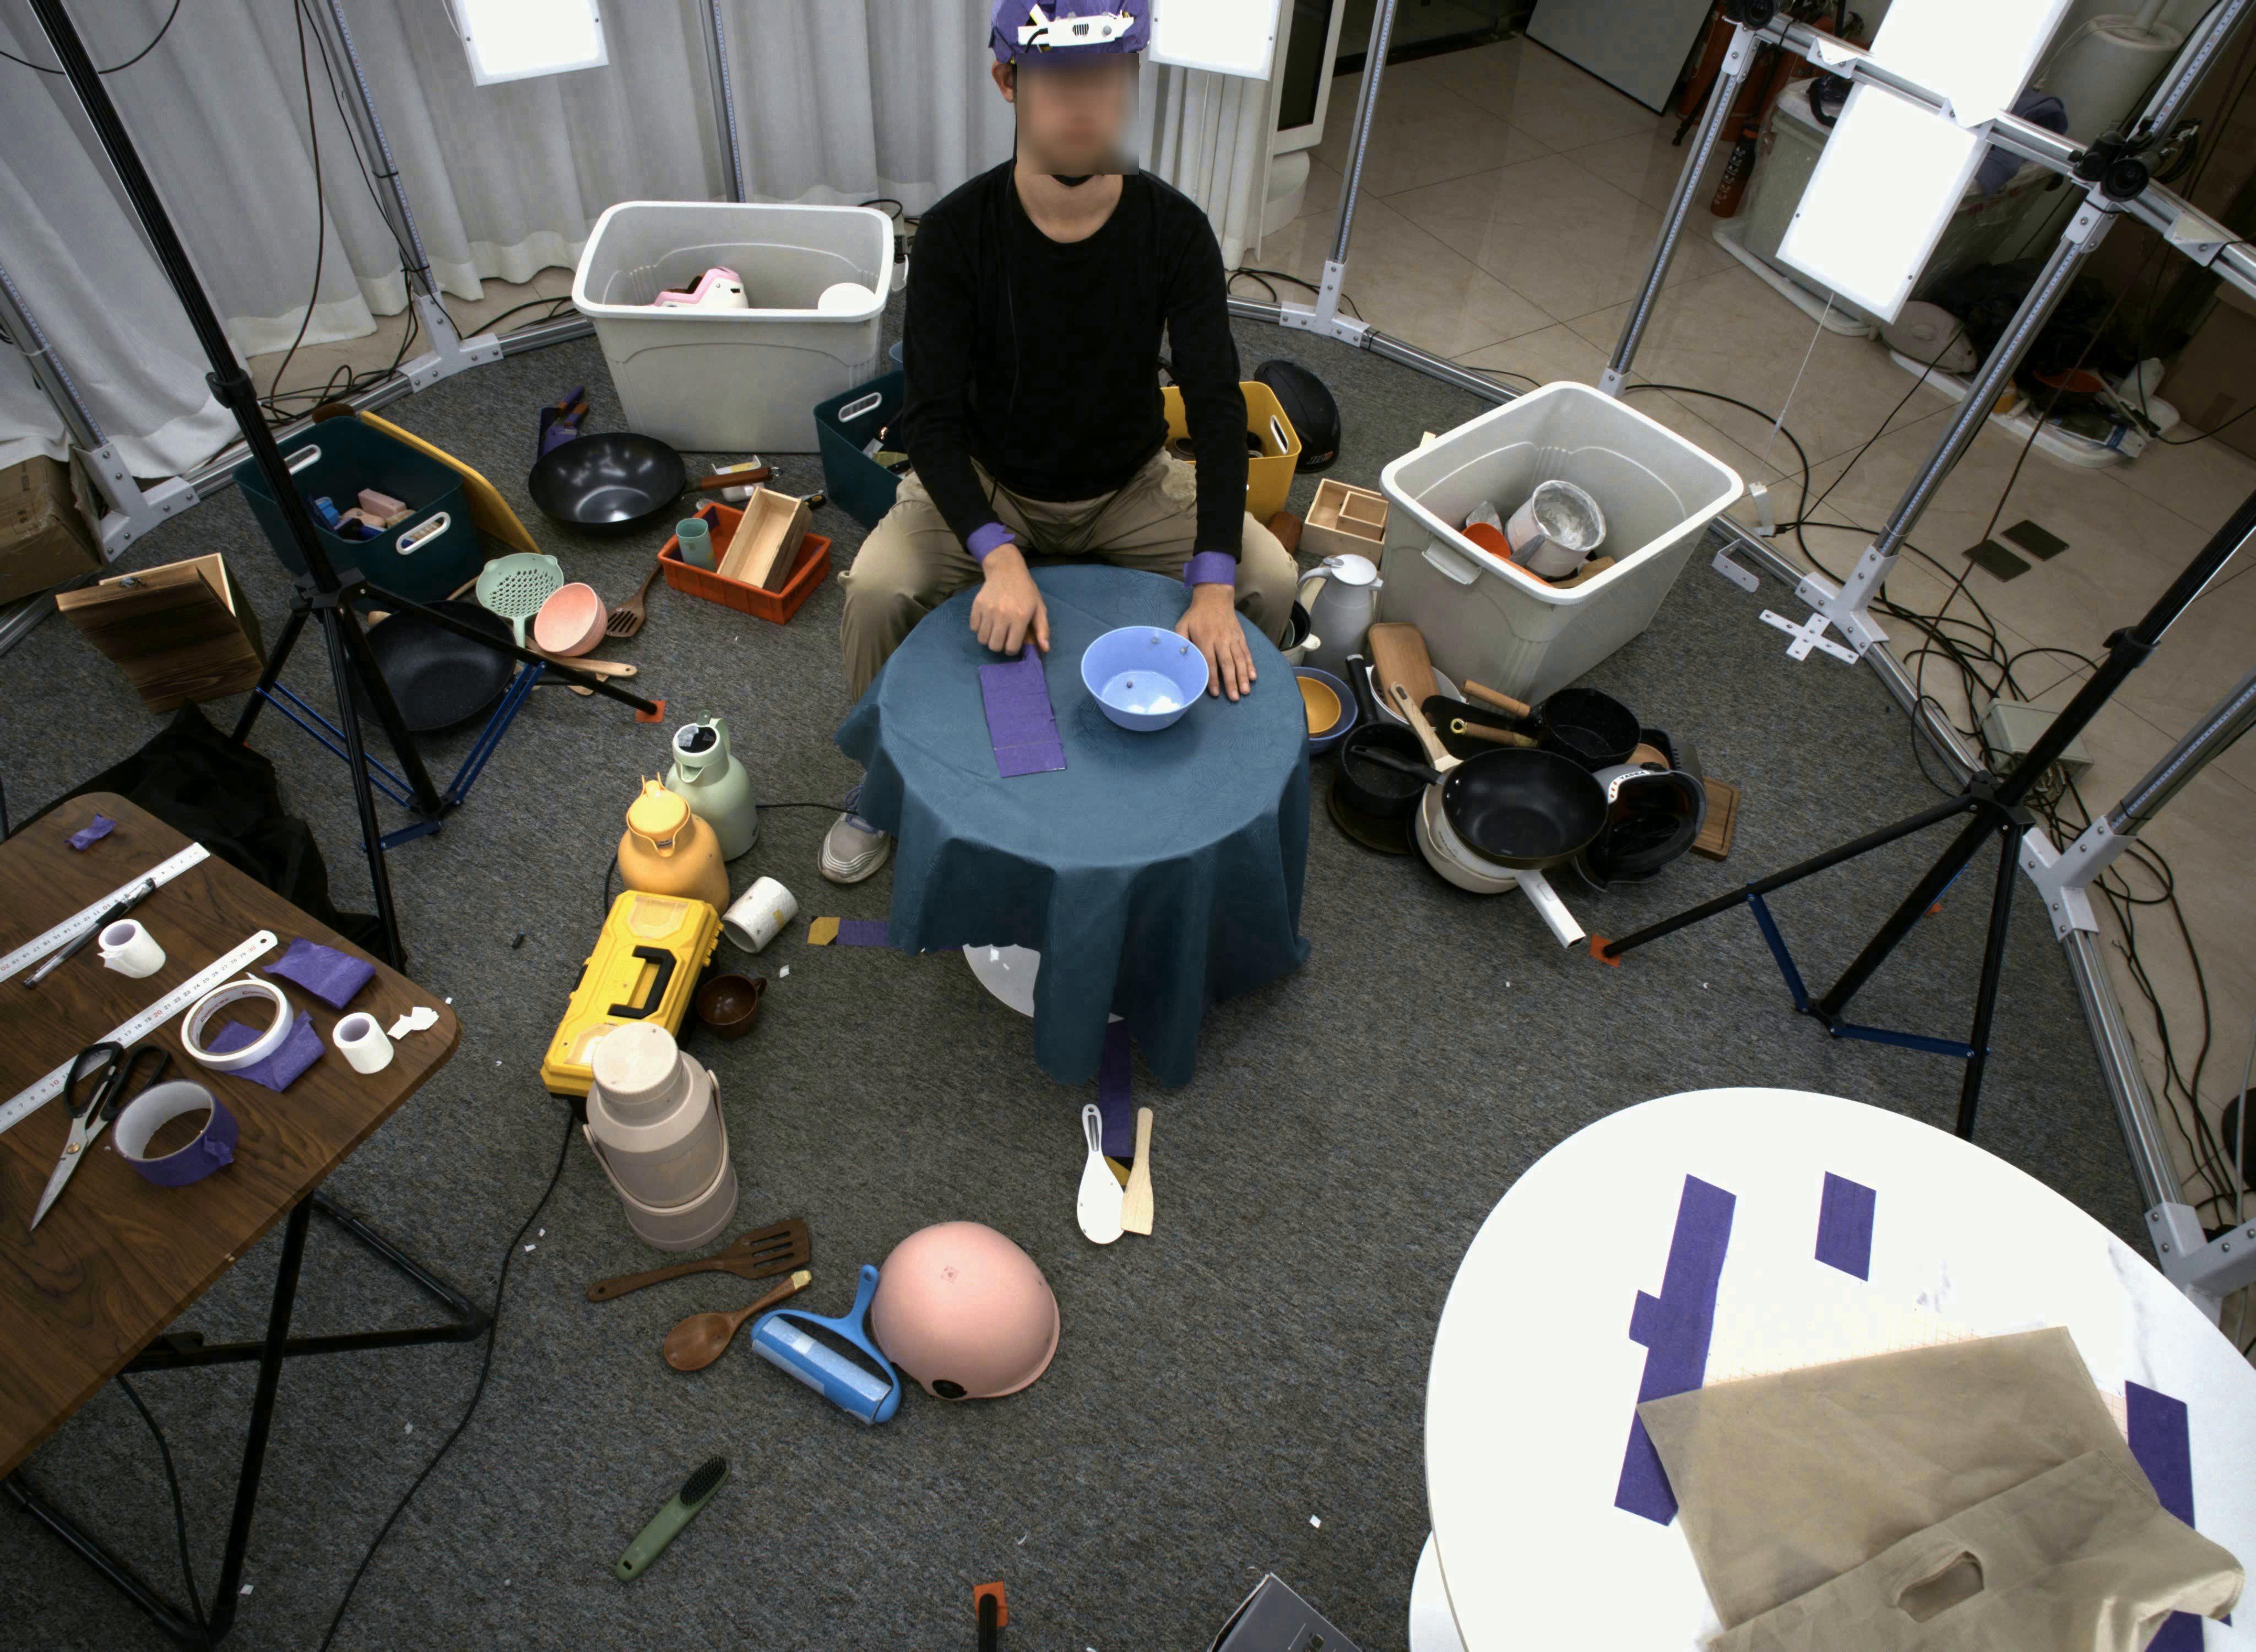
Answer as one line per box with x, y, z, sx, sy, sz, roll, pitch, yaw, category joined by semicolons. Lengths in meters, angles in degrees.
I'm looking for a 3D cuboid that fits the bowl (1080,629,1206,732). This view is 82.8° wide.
0.019;-0.195;1.793;0.176;0.068;0.180;2;48;-3;bowl

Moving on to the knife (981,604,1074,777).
-0.155;-0.196;1.812;0.104;0.031;0.323;-7;51;-10;knife
